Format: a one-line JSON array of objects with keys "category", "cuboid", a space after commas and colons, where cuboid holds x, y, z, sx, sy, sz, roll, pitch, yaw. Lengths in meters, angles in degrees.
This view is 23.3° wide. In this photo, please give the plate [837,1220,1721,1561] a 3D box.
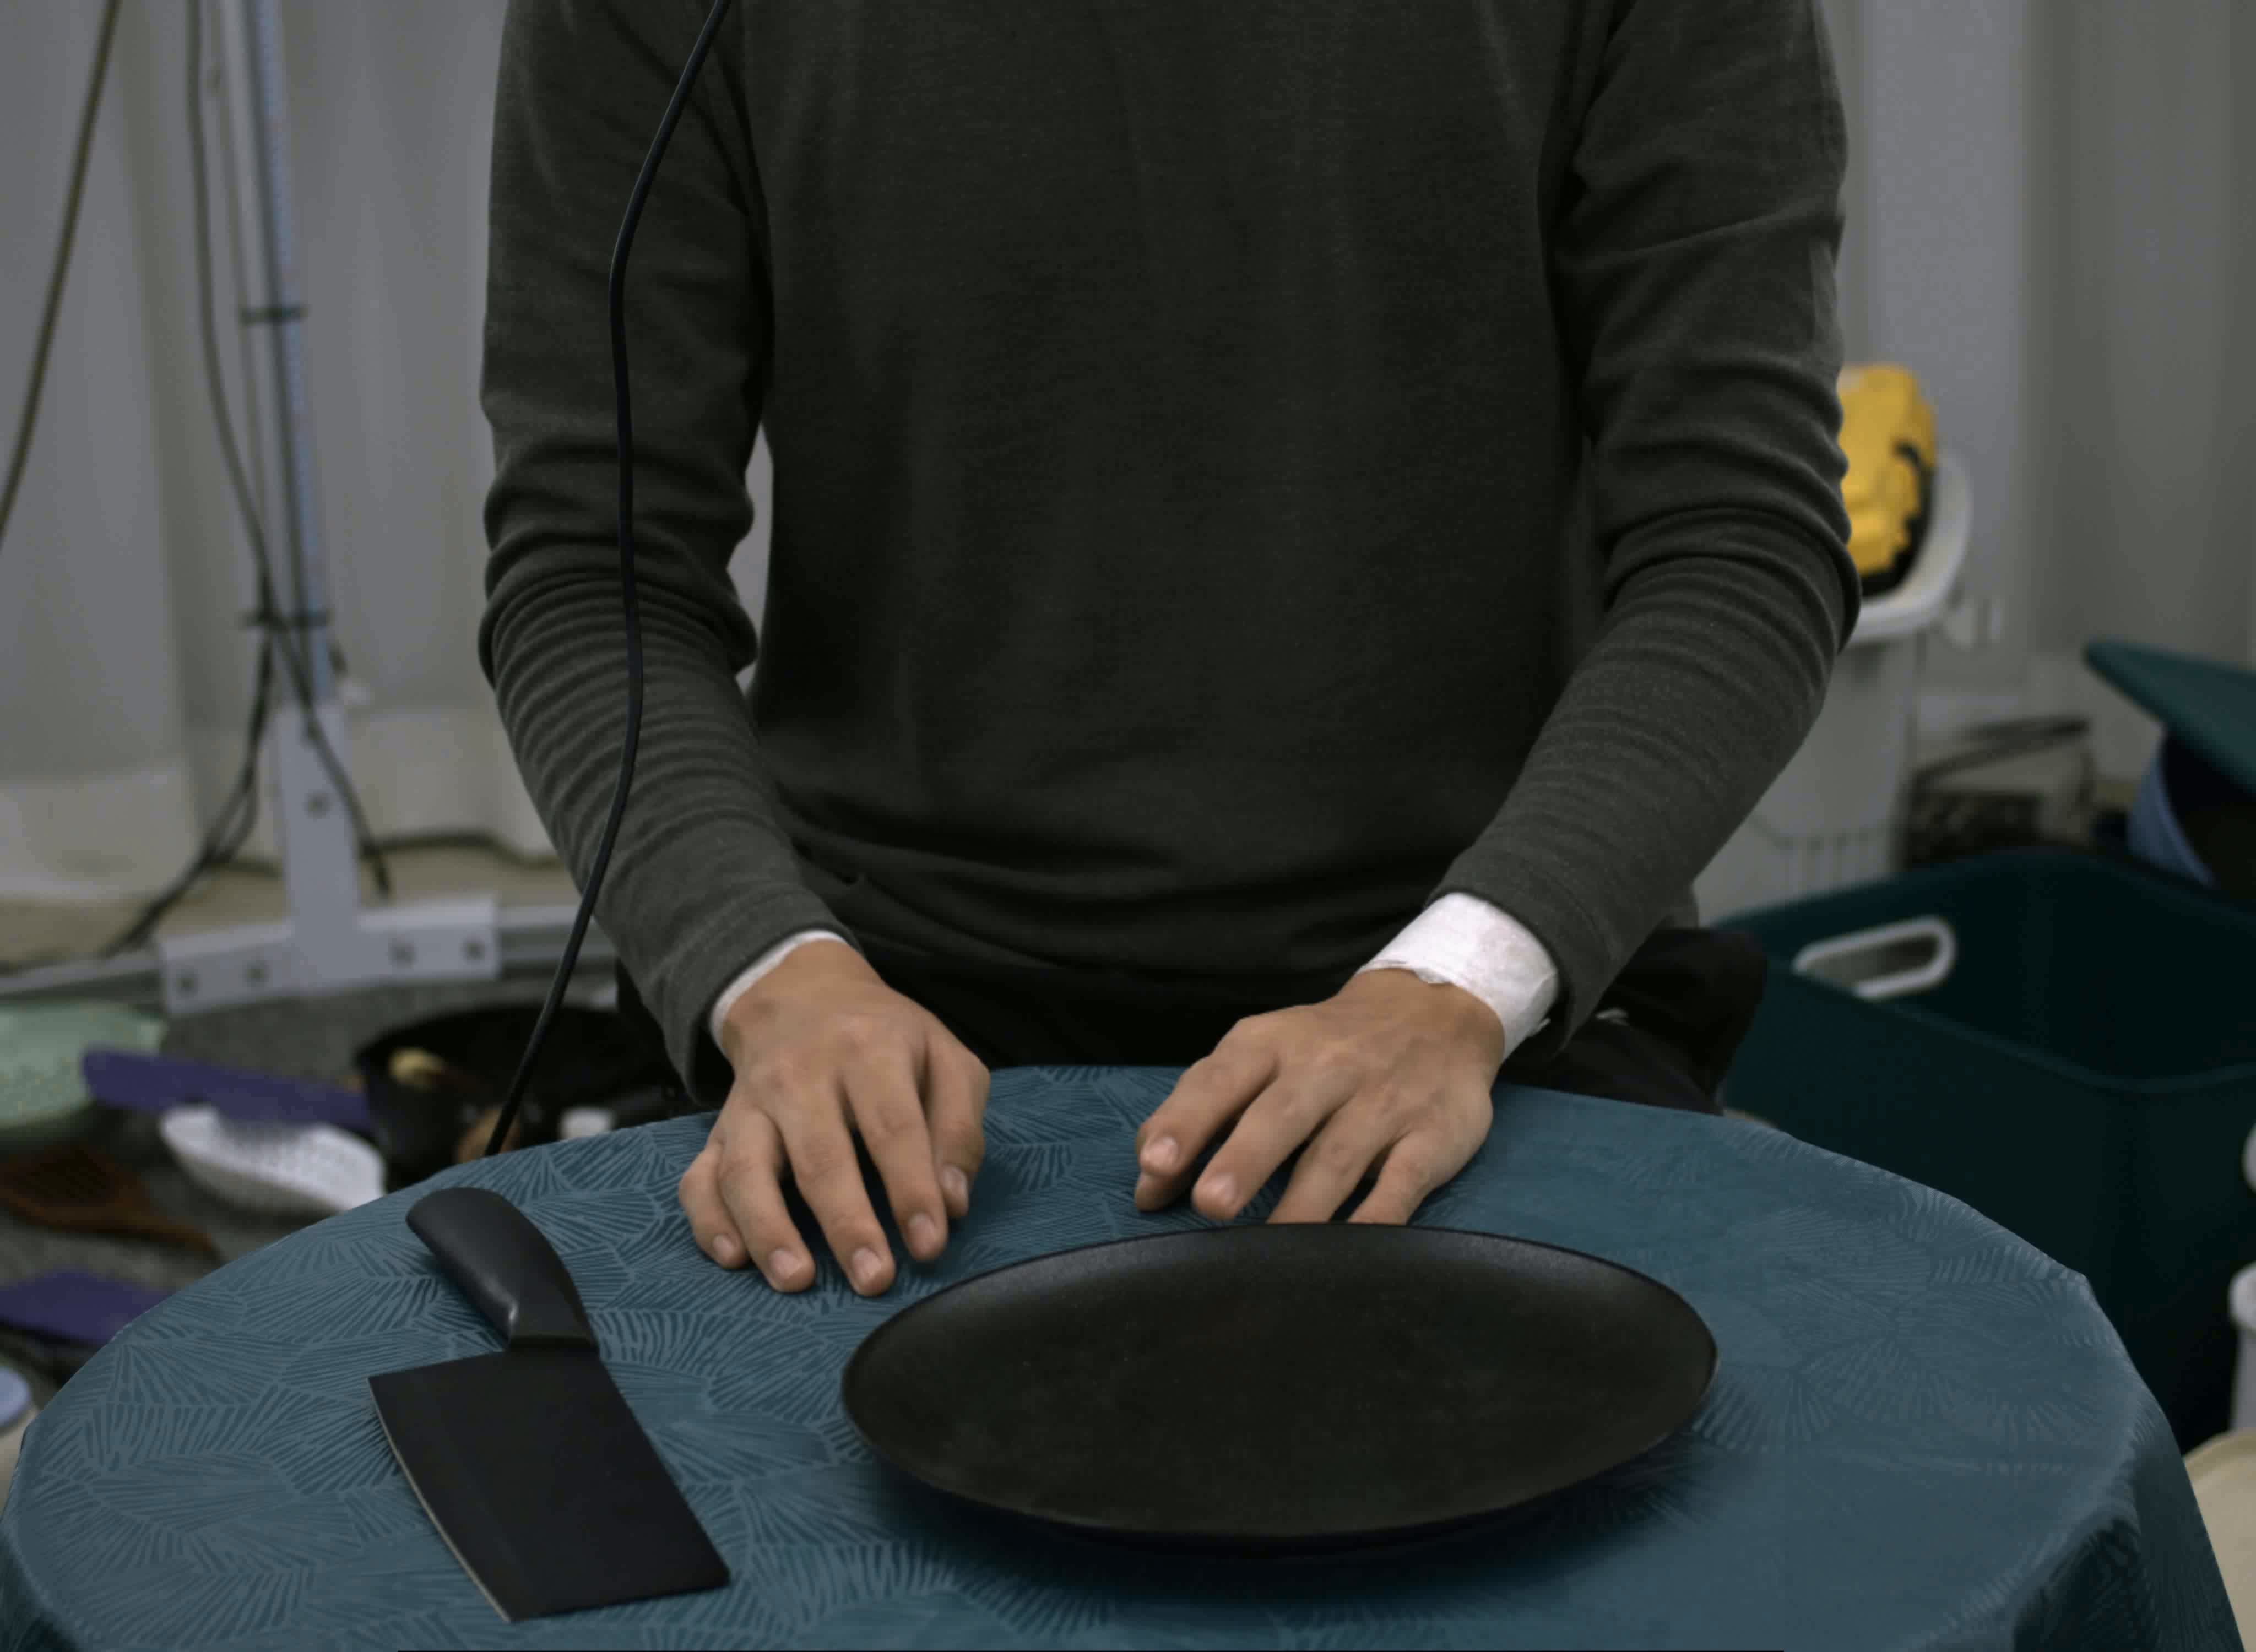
[{"category": "plate", "cuboid": [0.041, 0.158, 1.503, 0.243, 0.023, 0.246, -3, 15, 0]}]

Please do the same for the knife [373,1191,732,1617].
[{"category": "knife", "cuboid": [-0.174, 0.161, 1.550, 0.080, 0.021, 0.305, -7, 17, -12]}]
